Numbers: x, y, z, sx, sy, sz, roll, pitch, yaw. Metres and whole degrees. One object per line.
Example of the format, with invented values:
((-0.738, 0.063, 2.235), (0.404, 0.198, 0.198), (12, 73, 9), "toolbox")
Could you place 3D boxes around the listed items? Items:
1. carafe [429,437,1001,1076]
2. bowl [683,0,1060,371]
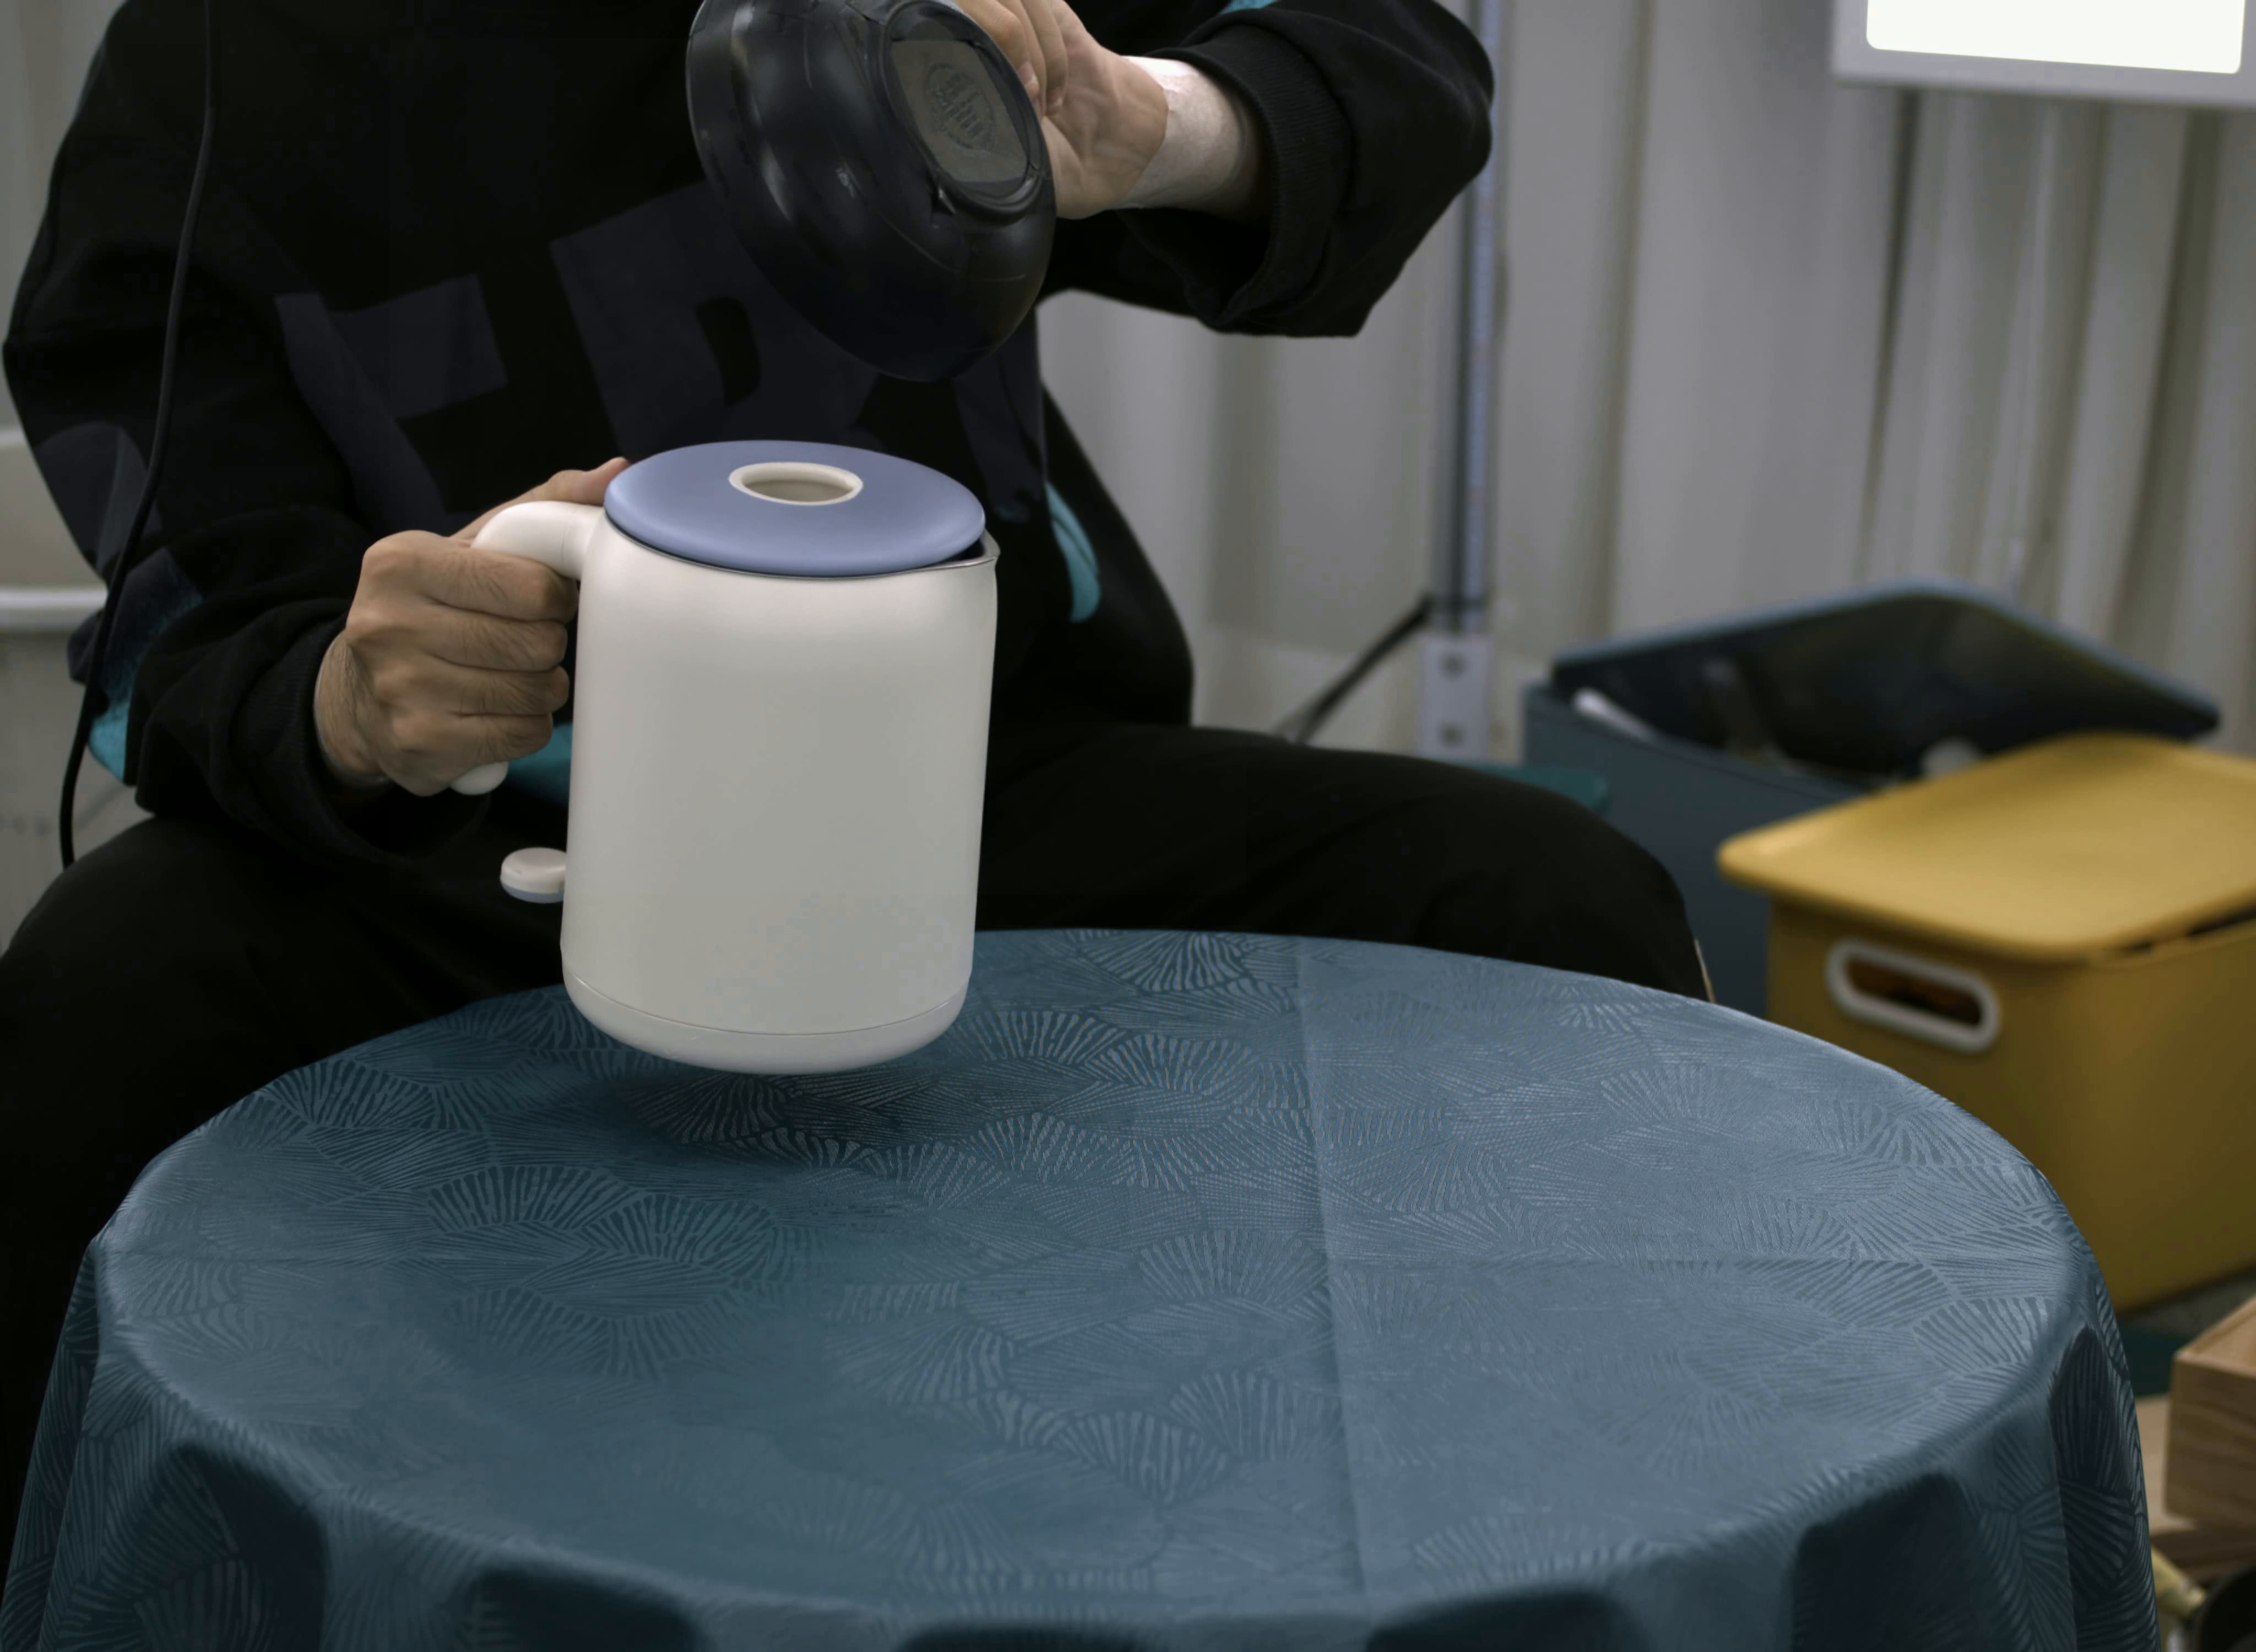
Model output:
((-0.132, -0.026, 1.657), (0.189, 0.184, 0.132), (9, 20, 17), "carafe")
((-0.066, -0.209, 1.570), (0.049, 0.140, 0.140), (-27, -3, 35), "bowl")
